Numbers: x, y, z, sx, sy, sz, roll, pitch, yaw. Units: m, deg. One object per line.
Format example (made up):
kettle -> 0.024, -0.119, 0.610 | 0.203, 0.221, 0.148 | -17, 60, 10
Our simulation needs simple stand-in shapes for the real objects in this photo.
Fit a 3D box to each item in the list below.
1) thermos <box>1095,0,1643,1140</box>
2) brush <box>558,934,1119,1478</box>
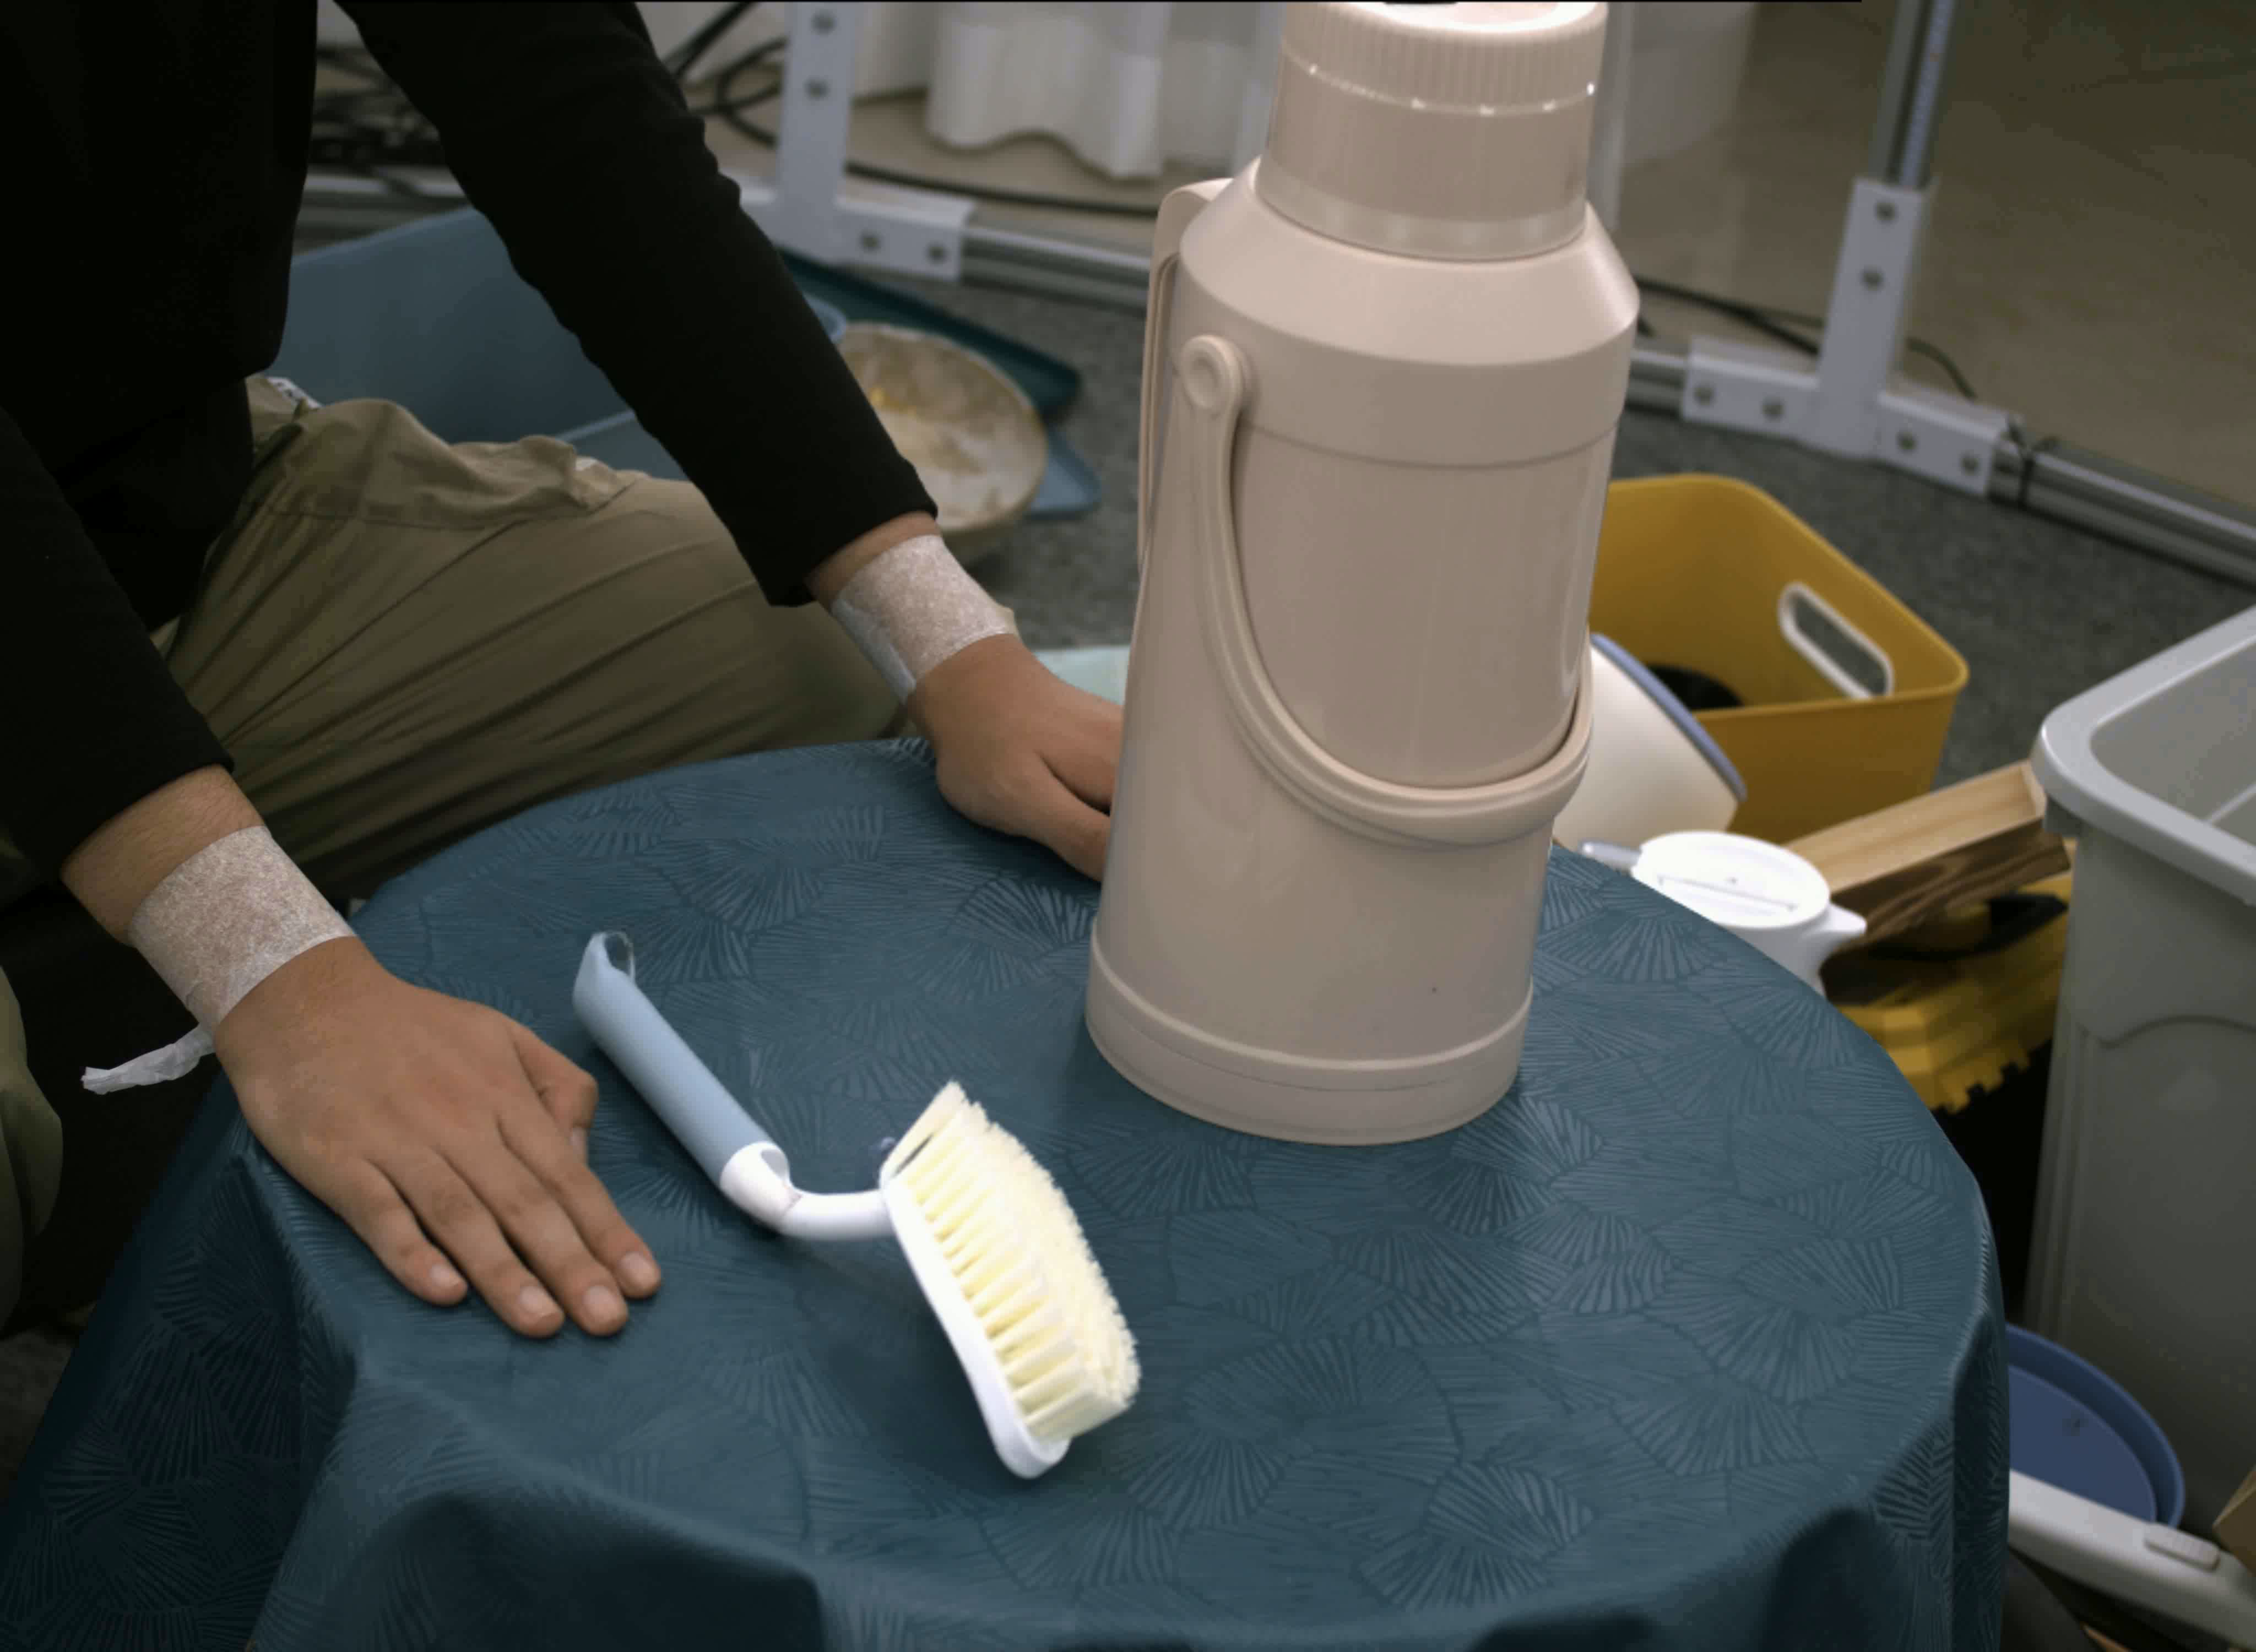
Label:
thermos -> 0.077, -0.108, 1.837 | 0.174, 0.405, 0.209 | -17, 35, -36
brush -> -0.091, 0.096, 1.747 | 0.084, 0.083, 0.328 | -14, 35, -26
